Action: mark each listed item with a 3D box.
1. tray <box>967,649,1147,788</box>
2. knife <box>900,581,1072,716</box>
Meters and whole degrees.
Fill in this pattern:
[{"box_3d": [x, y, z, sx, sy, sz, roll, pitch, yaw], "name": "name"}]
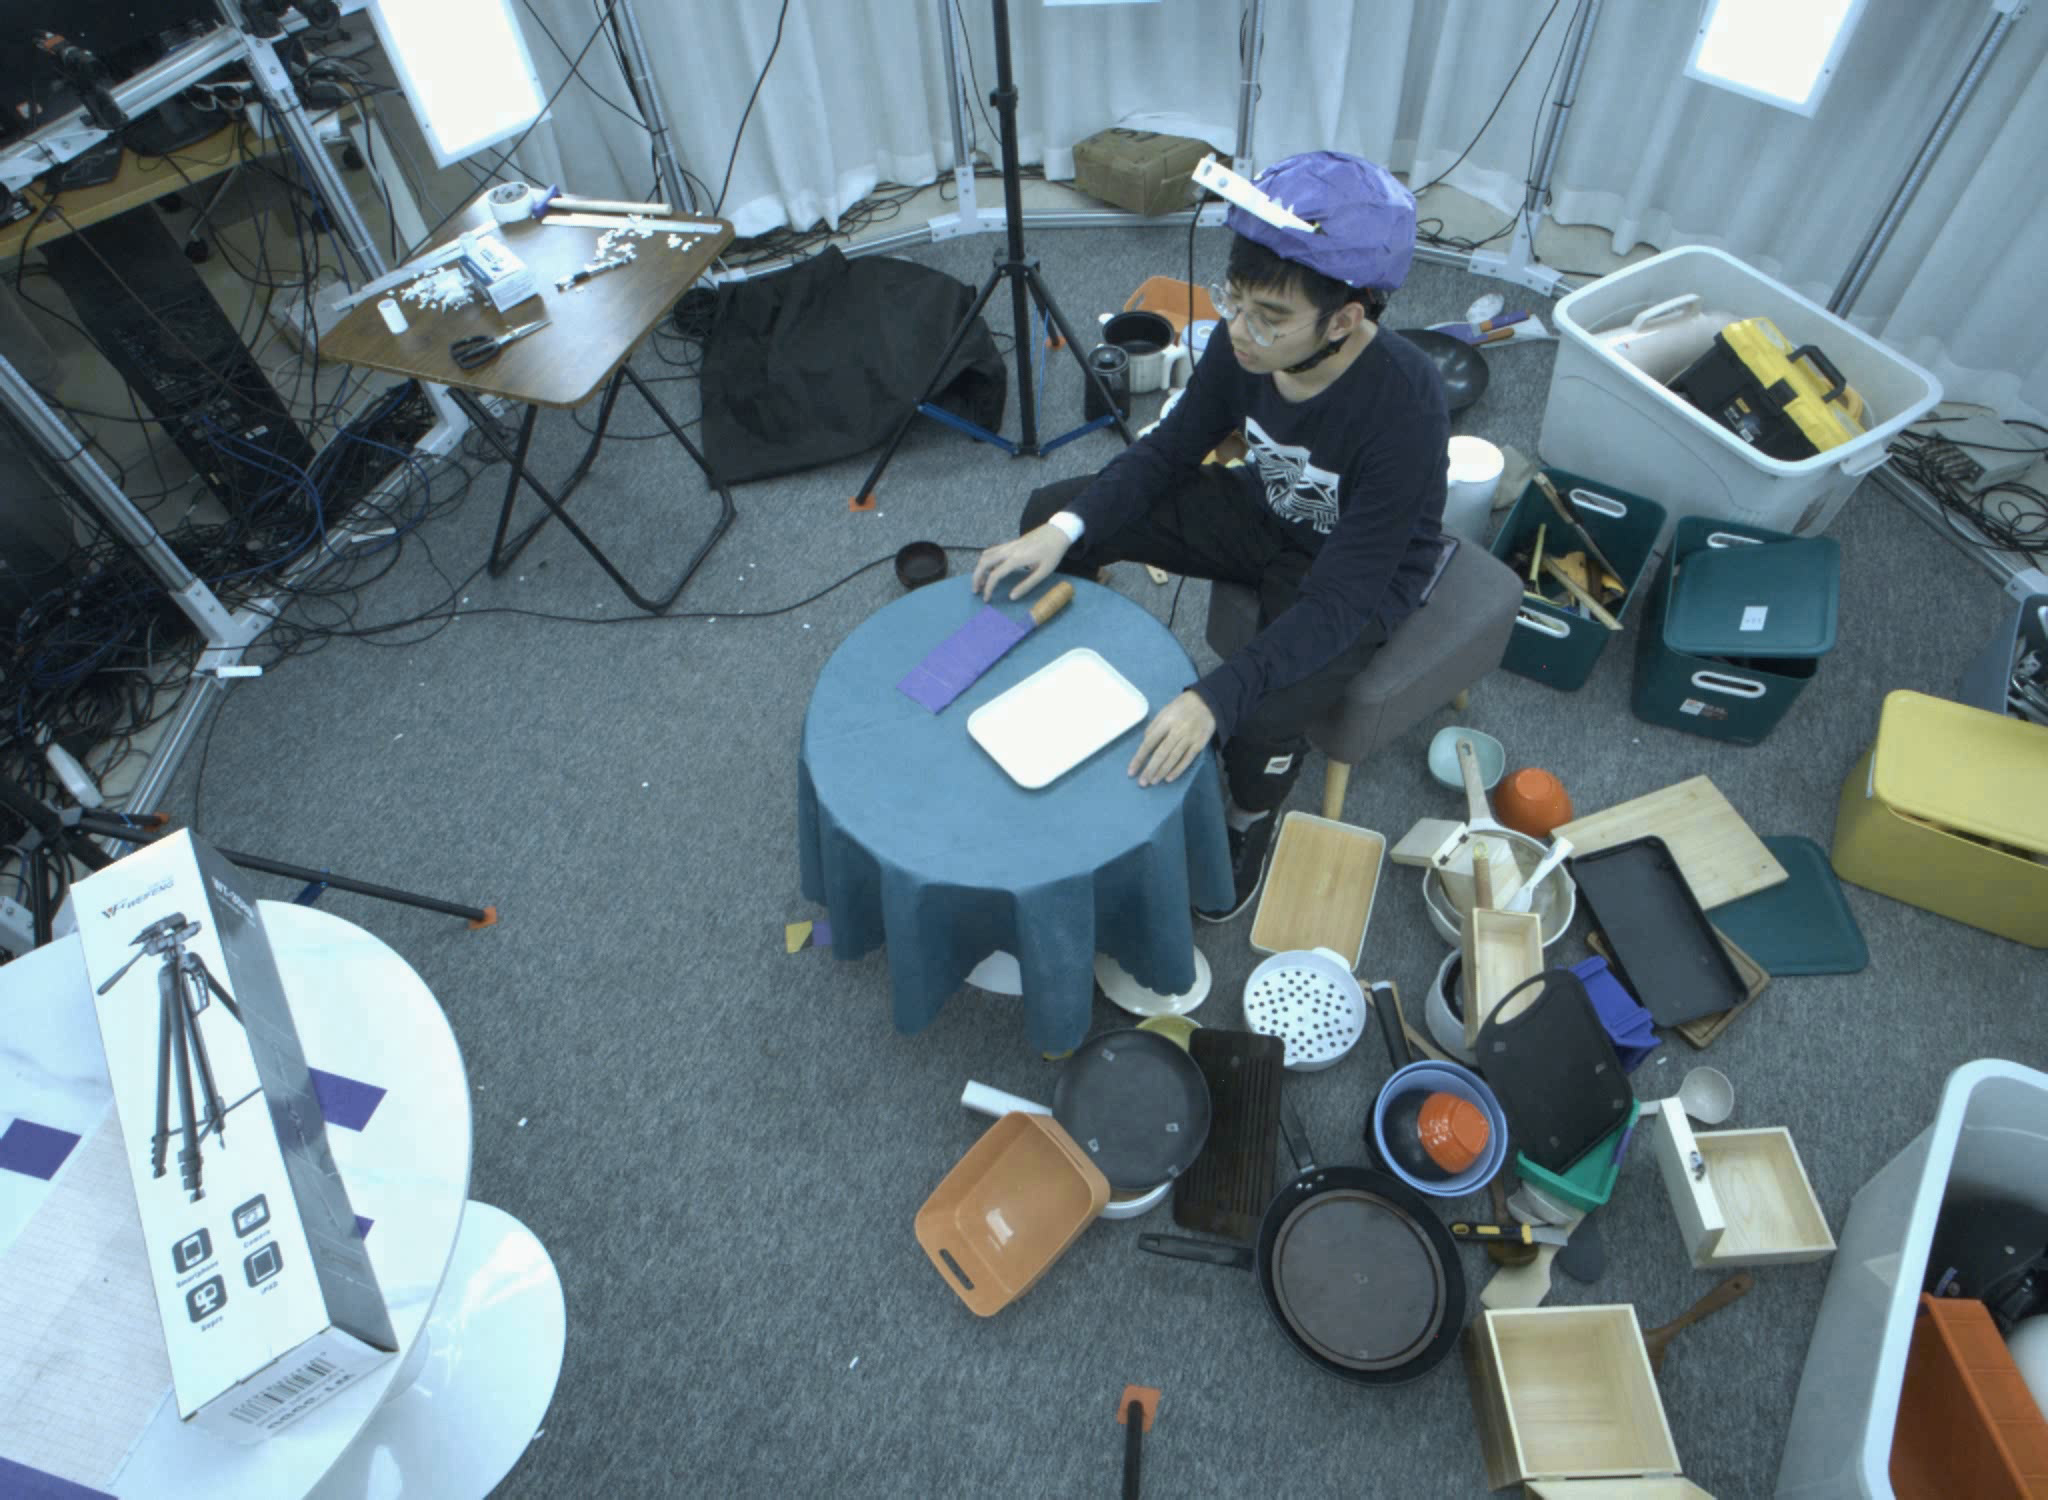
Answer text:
[{"box_3d": [0.050, -0.048, 1.818, 0.241, 0.017, 0.168, -33, 60, -20], "name": "tray"}, {"box_3d": [-0.060, -0.176, 1.906, 0.102, 0.032, 0.317, 35, 63, 23], "name": "knife"}]
